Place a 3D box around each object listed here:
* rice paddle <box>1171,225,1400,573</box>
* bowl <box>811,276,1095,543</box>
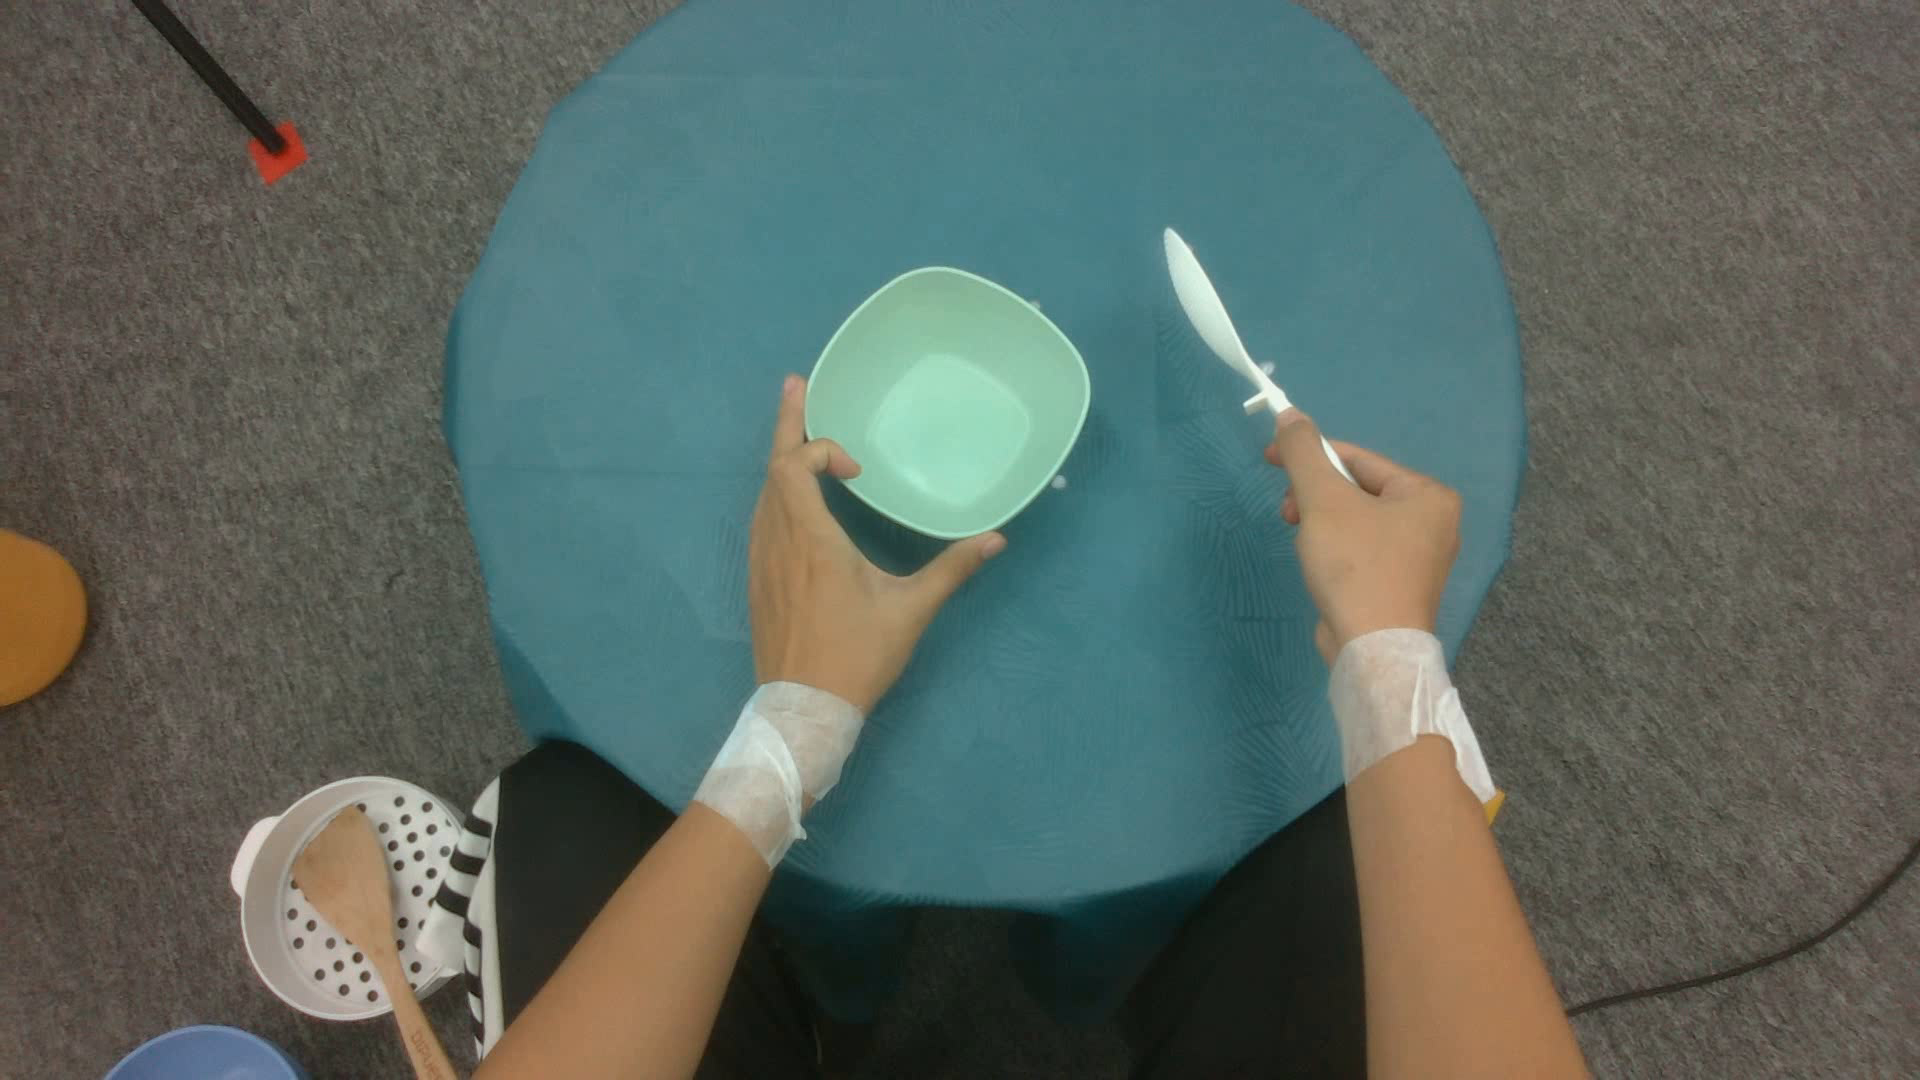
[{"bbox_3d":[0.157,-0.078,0.693,0.029,0.069,0.205,-29,69,10],"label":"rice paddle"},{"bbox_3d":[-0.003,-0.064,0.752,0.151,0.058,0.152,0,73,-1],"label":"bowl"}]
